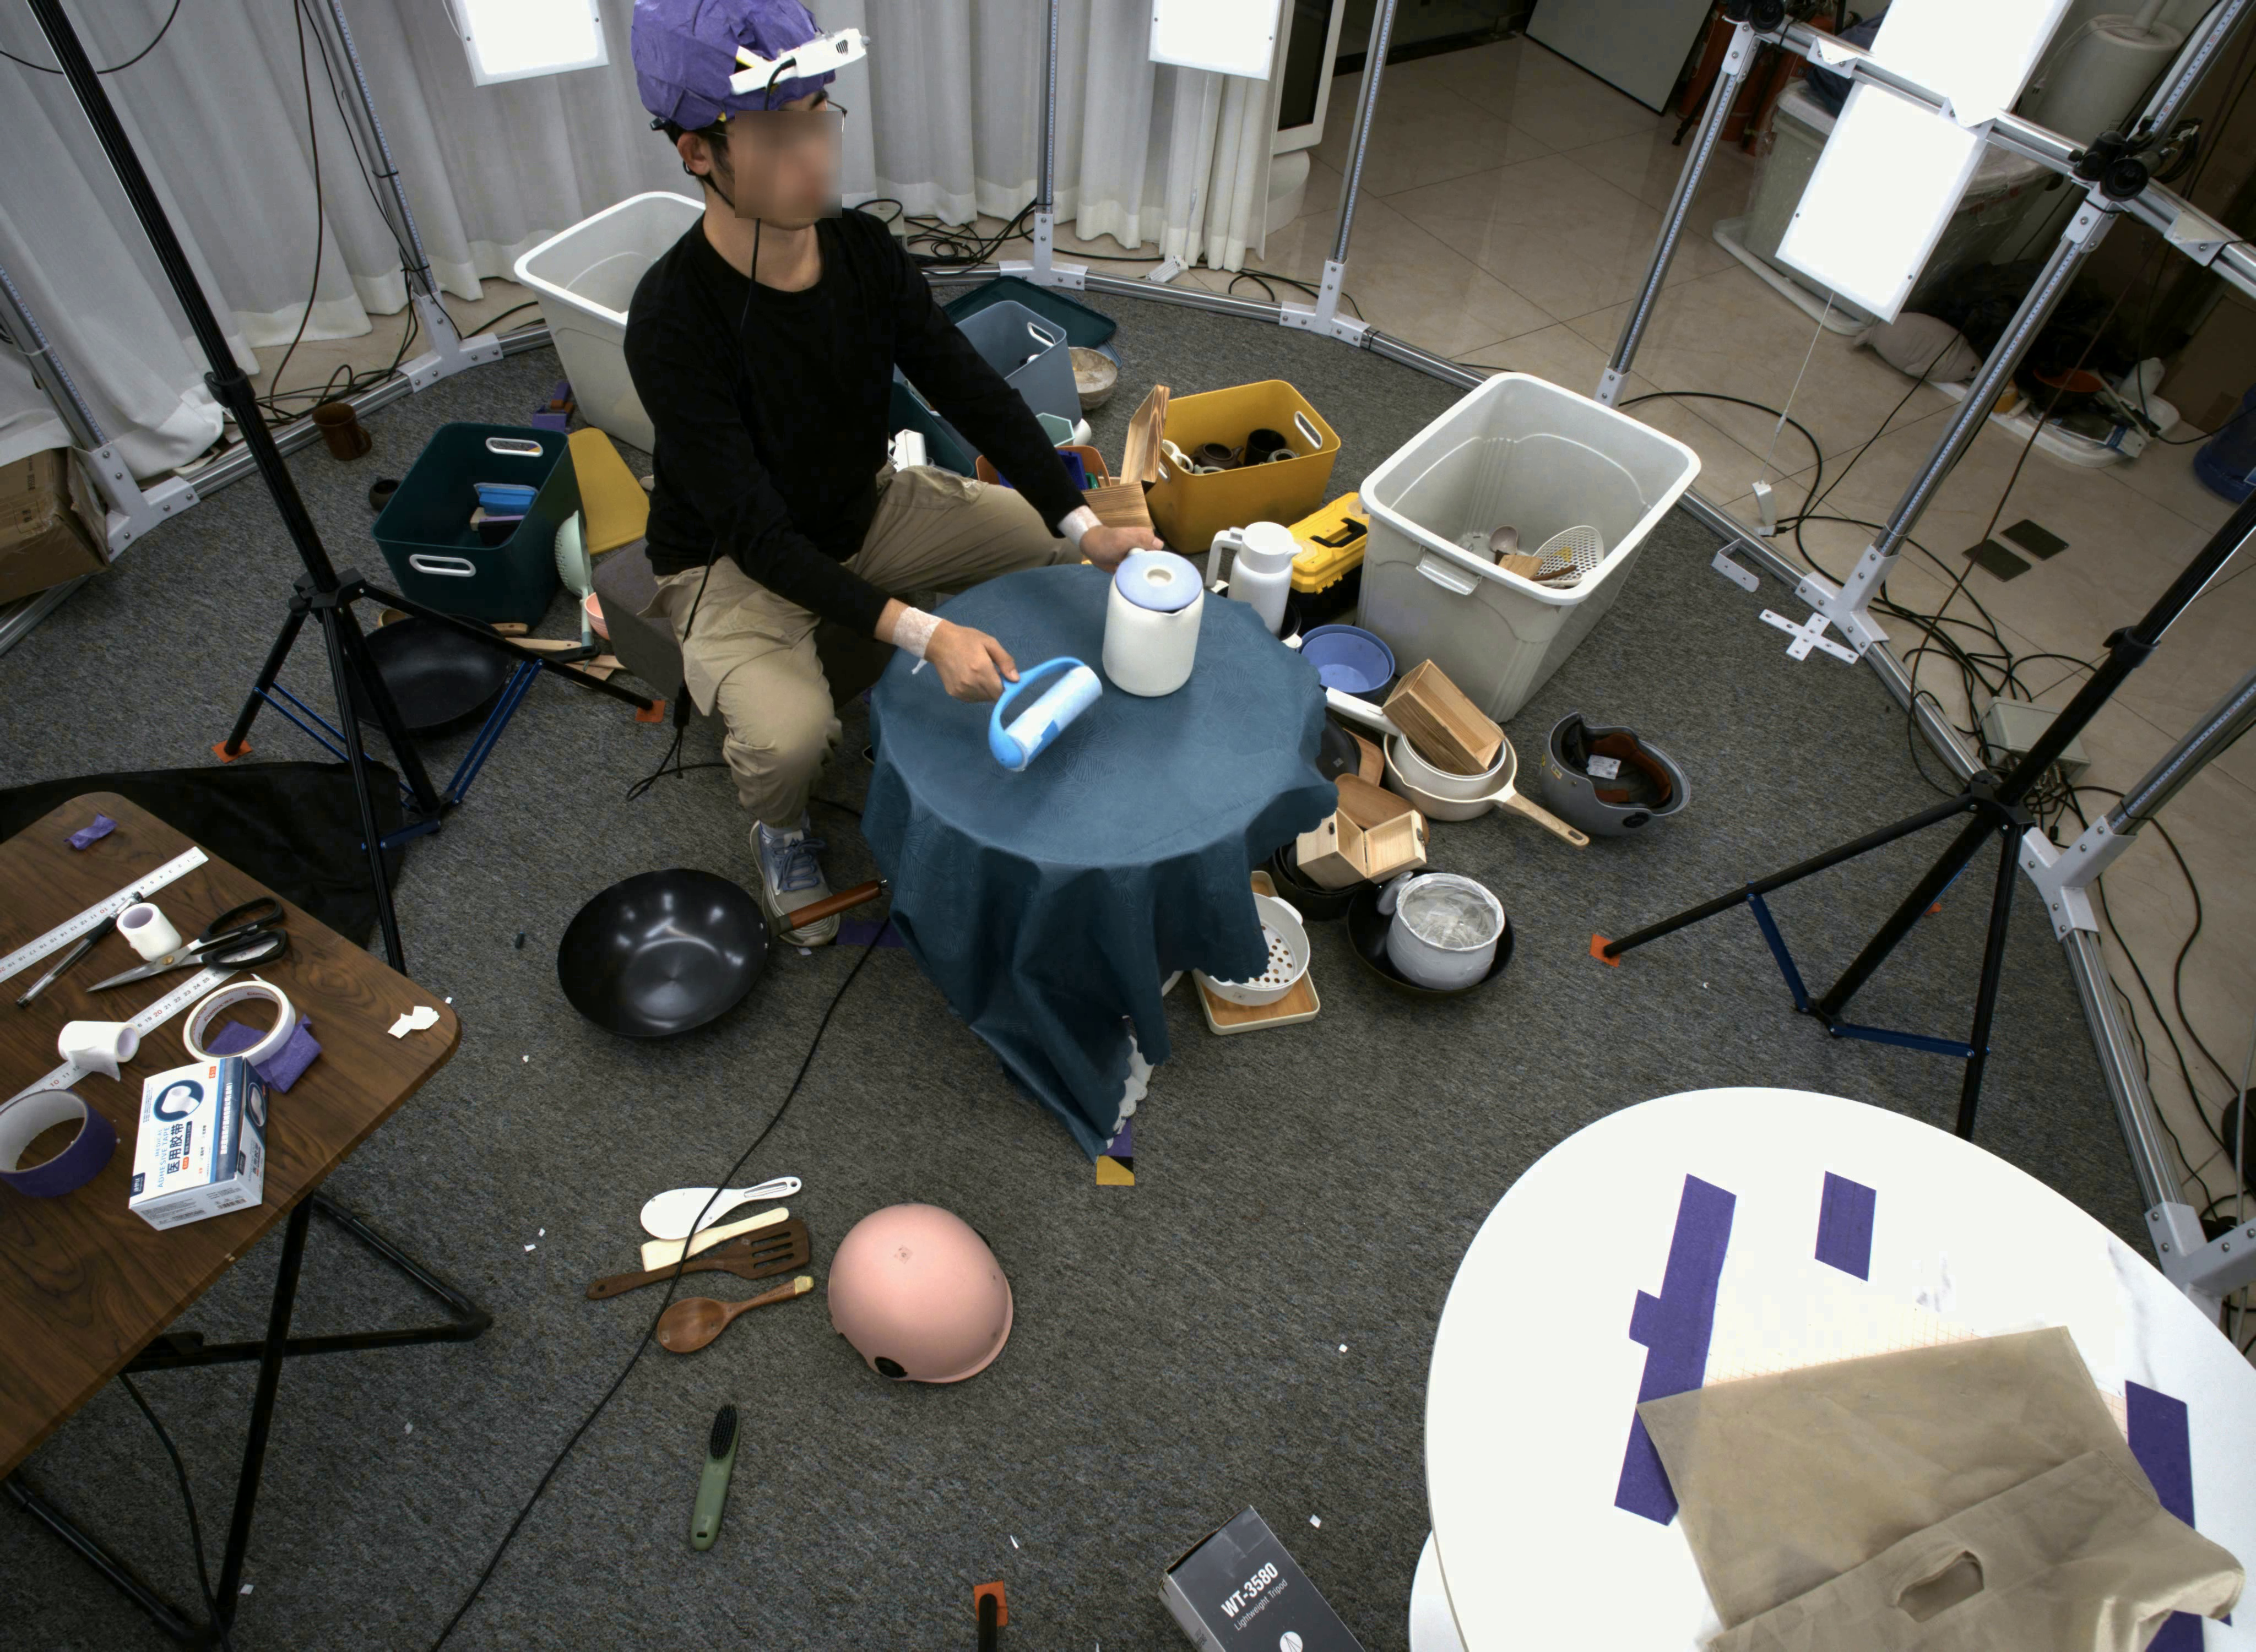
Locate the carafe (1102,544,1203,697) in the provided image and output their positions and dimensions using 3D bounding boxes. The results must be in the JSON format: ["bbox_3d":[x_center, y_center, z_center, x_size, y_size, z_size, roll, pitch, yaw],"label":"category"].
[{"bbox_3d":[0.027,-0.302,1.820,0.132,0.178,0.196,-10,50,-14],"label":"carafe"}]

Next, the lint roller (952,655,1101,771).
[{"bbox_3d":[-0.156,-0.172,1.715,0.181,0.066,0.233,25,45,12],"label":"lint roller"}]
